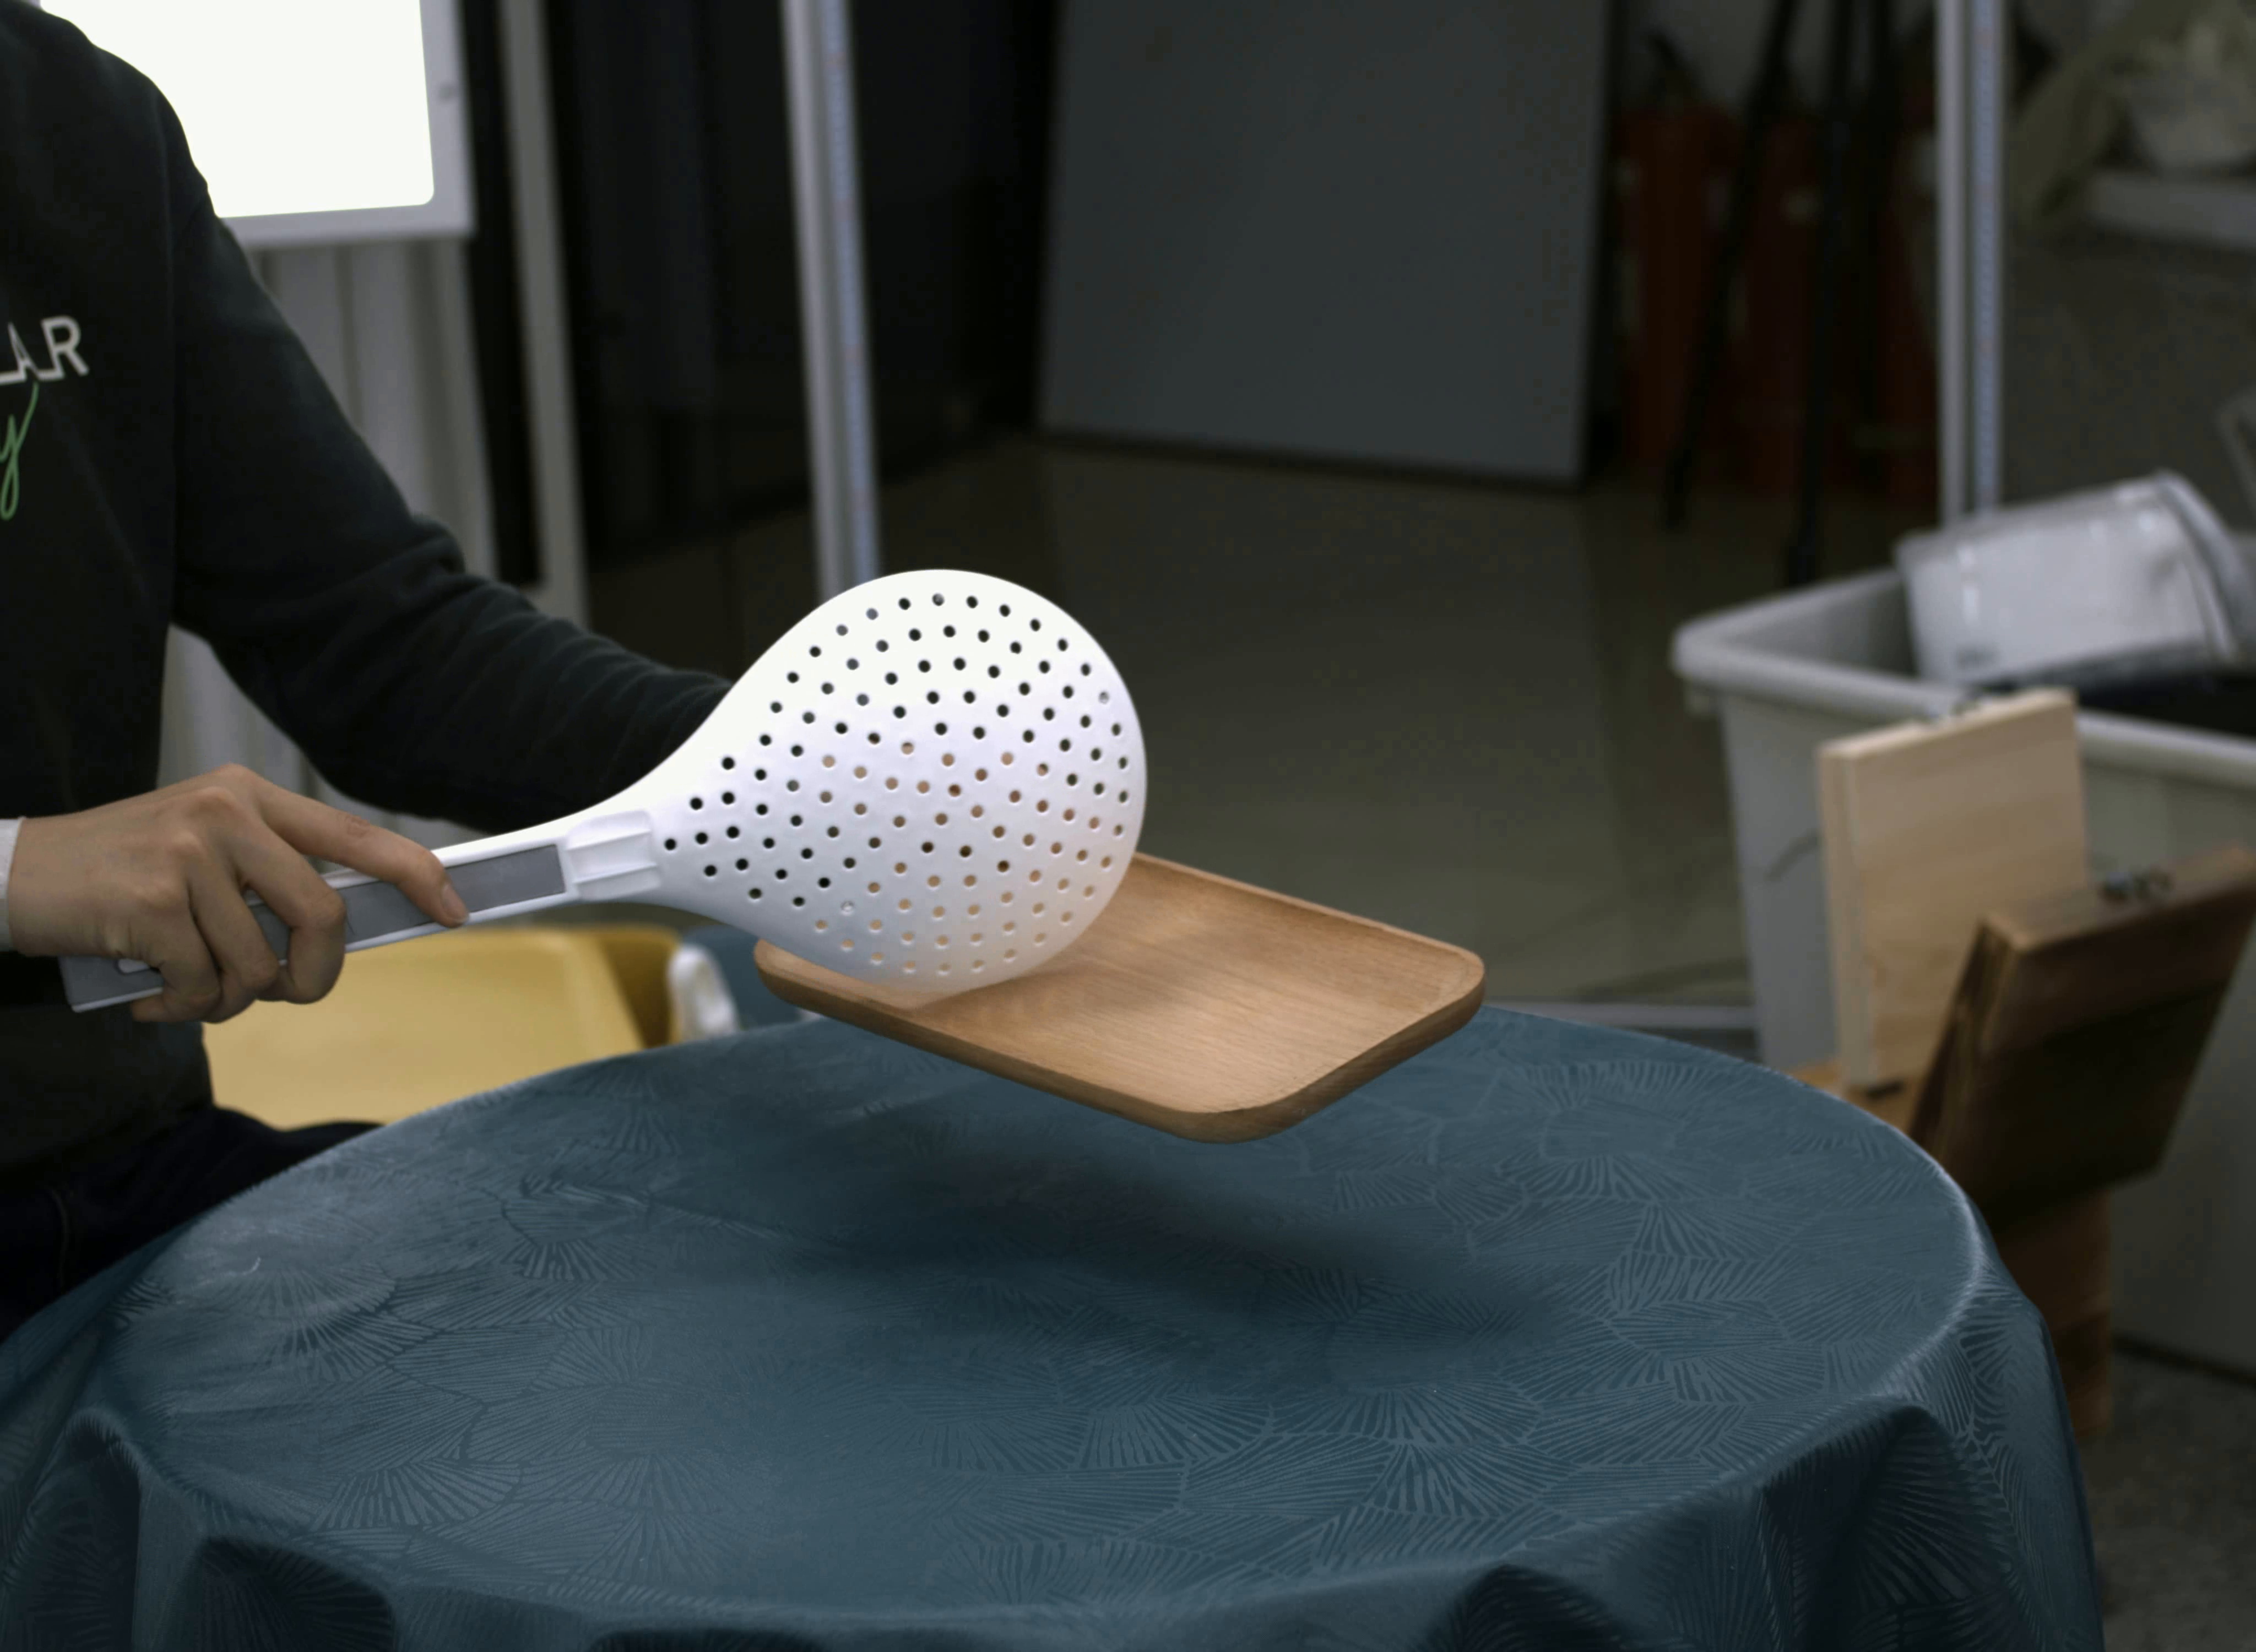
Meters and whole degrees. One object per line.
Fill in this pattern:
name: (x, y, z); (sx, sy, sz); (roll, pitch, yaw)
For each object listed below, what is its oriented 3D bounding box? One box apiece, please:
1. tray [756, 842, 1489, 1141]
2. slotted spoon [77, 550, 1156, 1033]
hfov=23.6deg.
tray: (-0.004, 0.047, 1.722); (0.128, 0.023, 0.253); (-26, 26, -35)
slotted spoon: (-0.158, 0.008, 1.702); (0.345, 0.137, 0.046); (-14, 4, -2)
